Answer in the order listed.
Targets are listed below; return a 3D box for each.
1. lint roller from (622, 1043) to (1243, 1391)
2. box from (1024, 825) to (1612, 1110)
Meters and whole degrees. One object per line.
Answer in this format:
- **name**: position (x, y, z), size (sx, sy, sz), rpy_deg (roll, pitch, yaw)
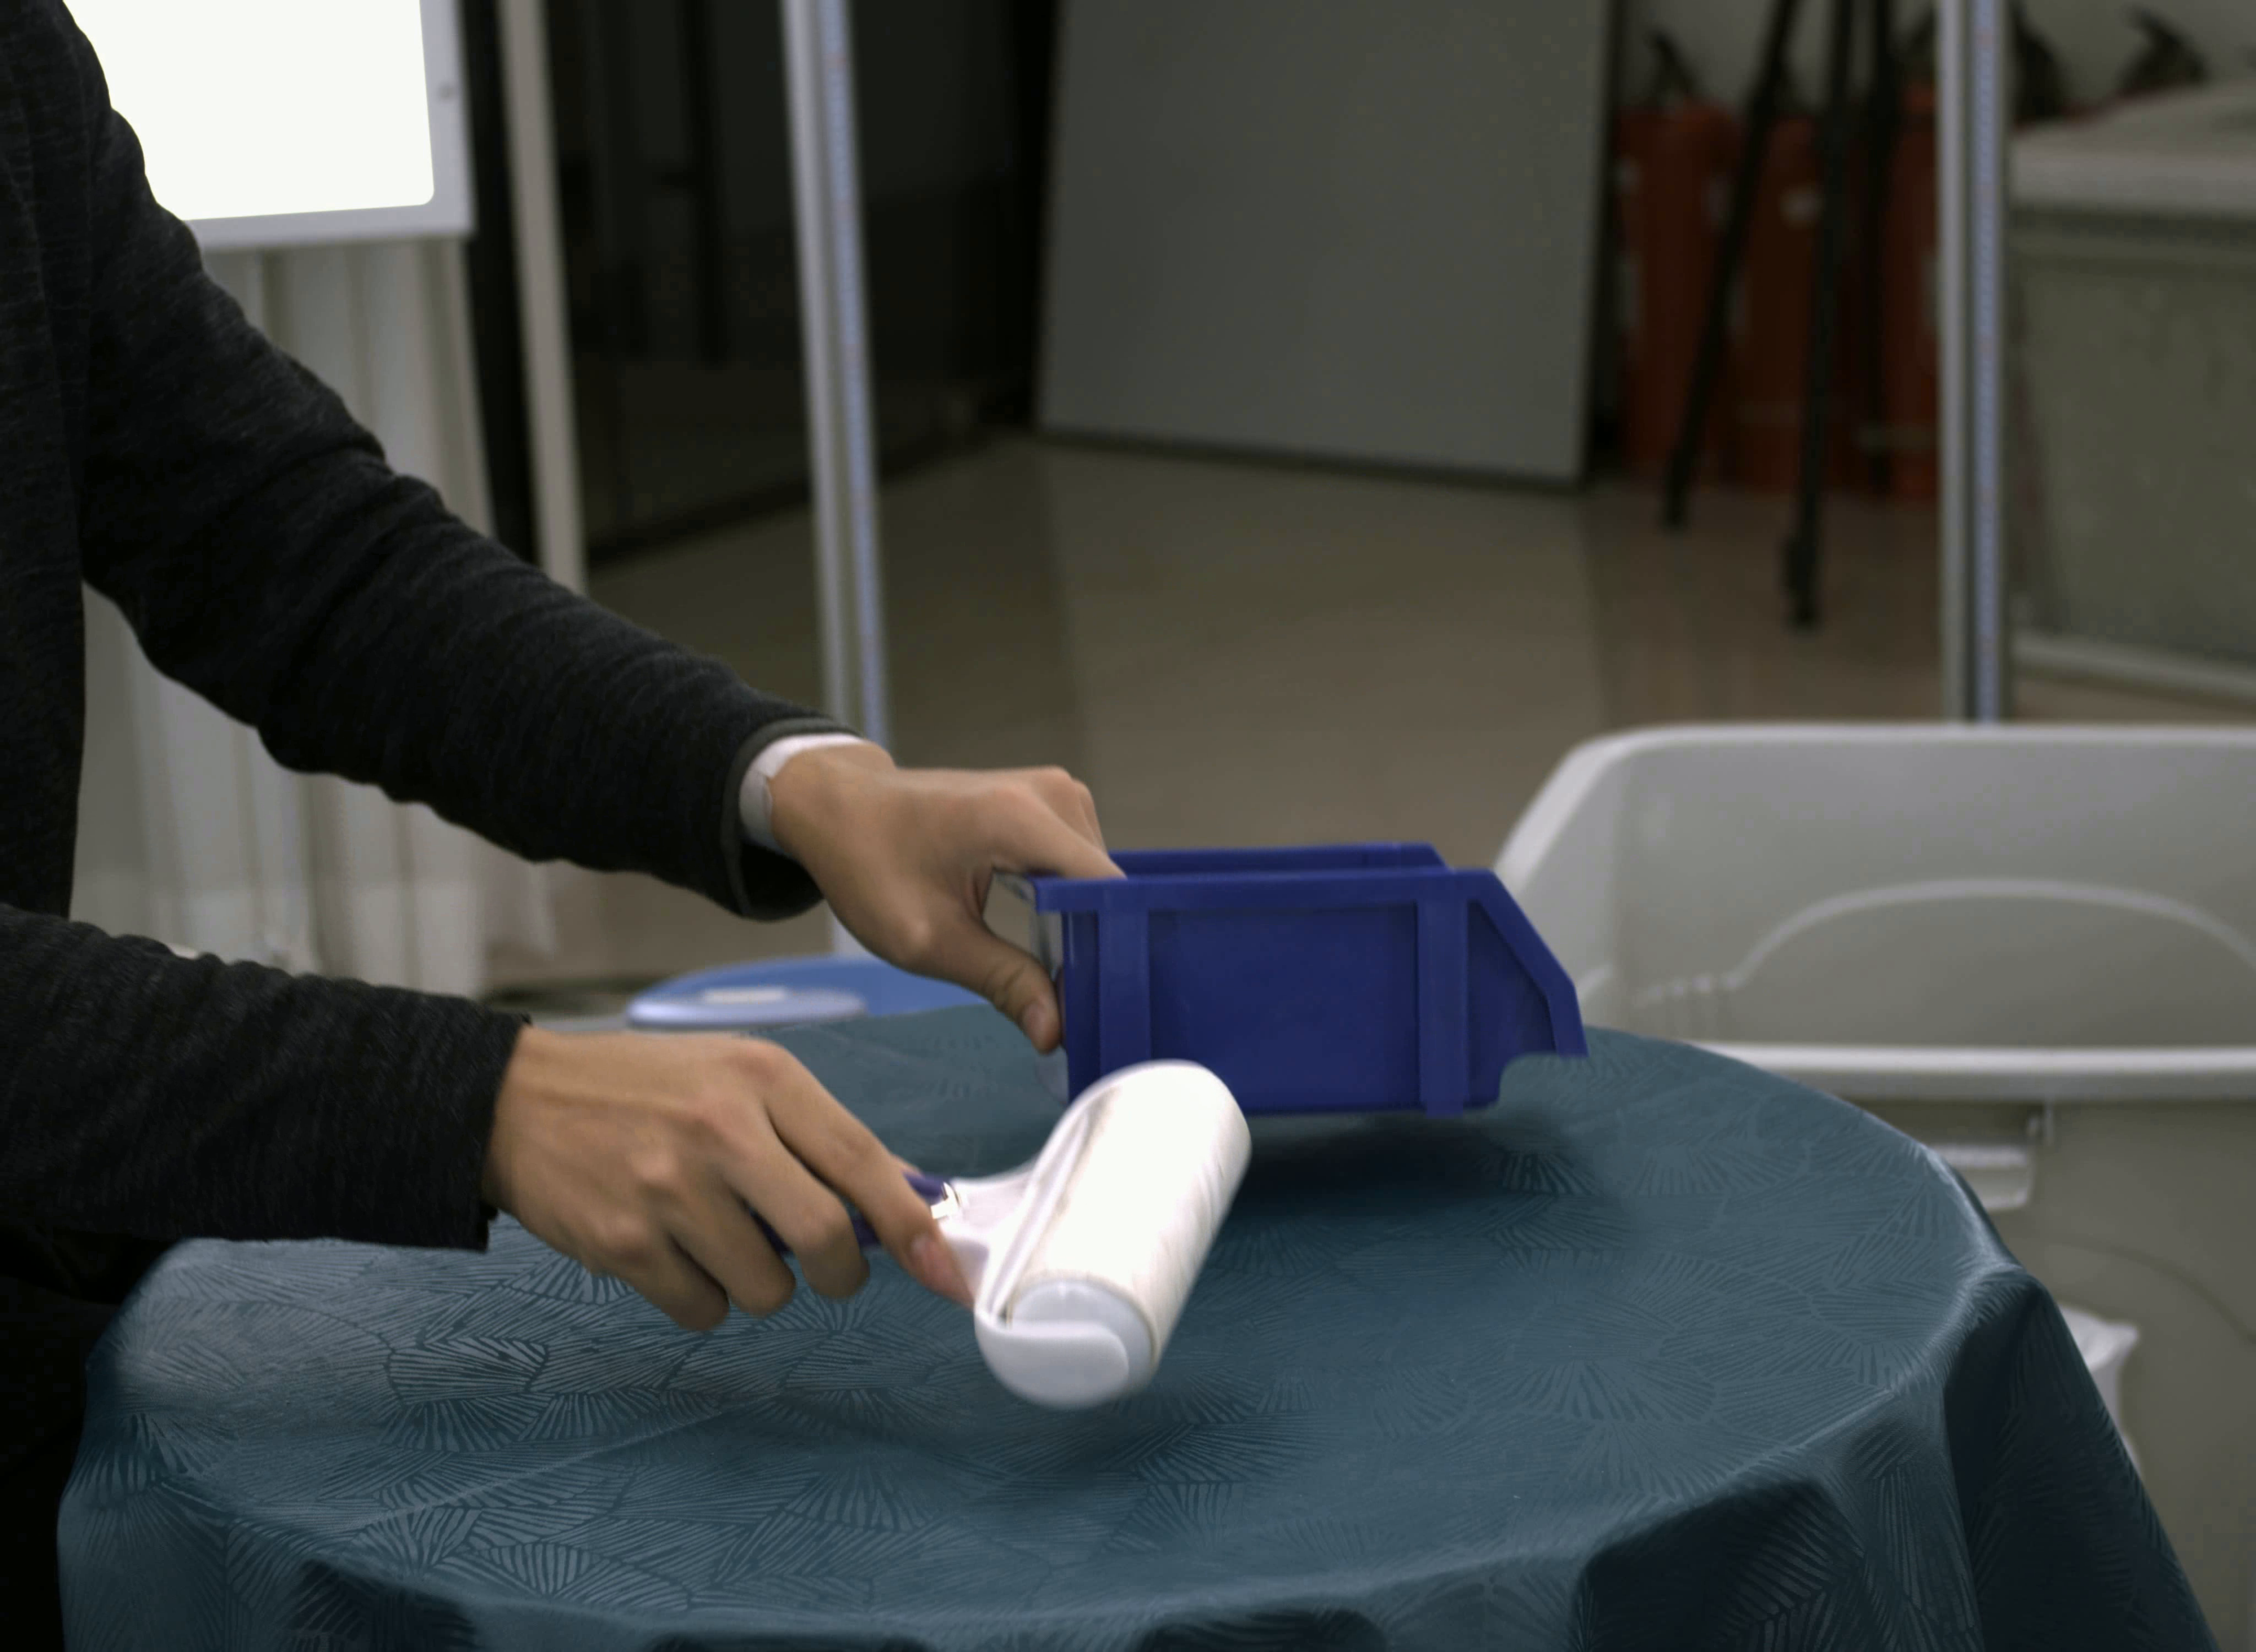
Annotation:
- **lint roller**: position (-0.063, 0.102, 1.570), size (0.180, 0.050, 0.132), rpy_deg (10, 37, 16)
- **box**: position (0.060, 0.046, 1.773), size (0.176, 0.083, 0.125), rpy_deg (-5, 3, -4)
